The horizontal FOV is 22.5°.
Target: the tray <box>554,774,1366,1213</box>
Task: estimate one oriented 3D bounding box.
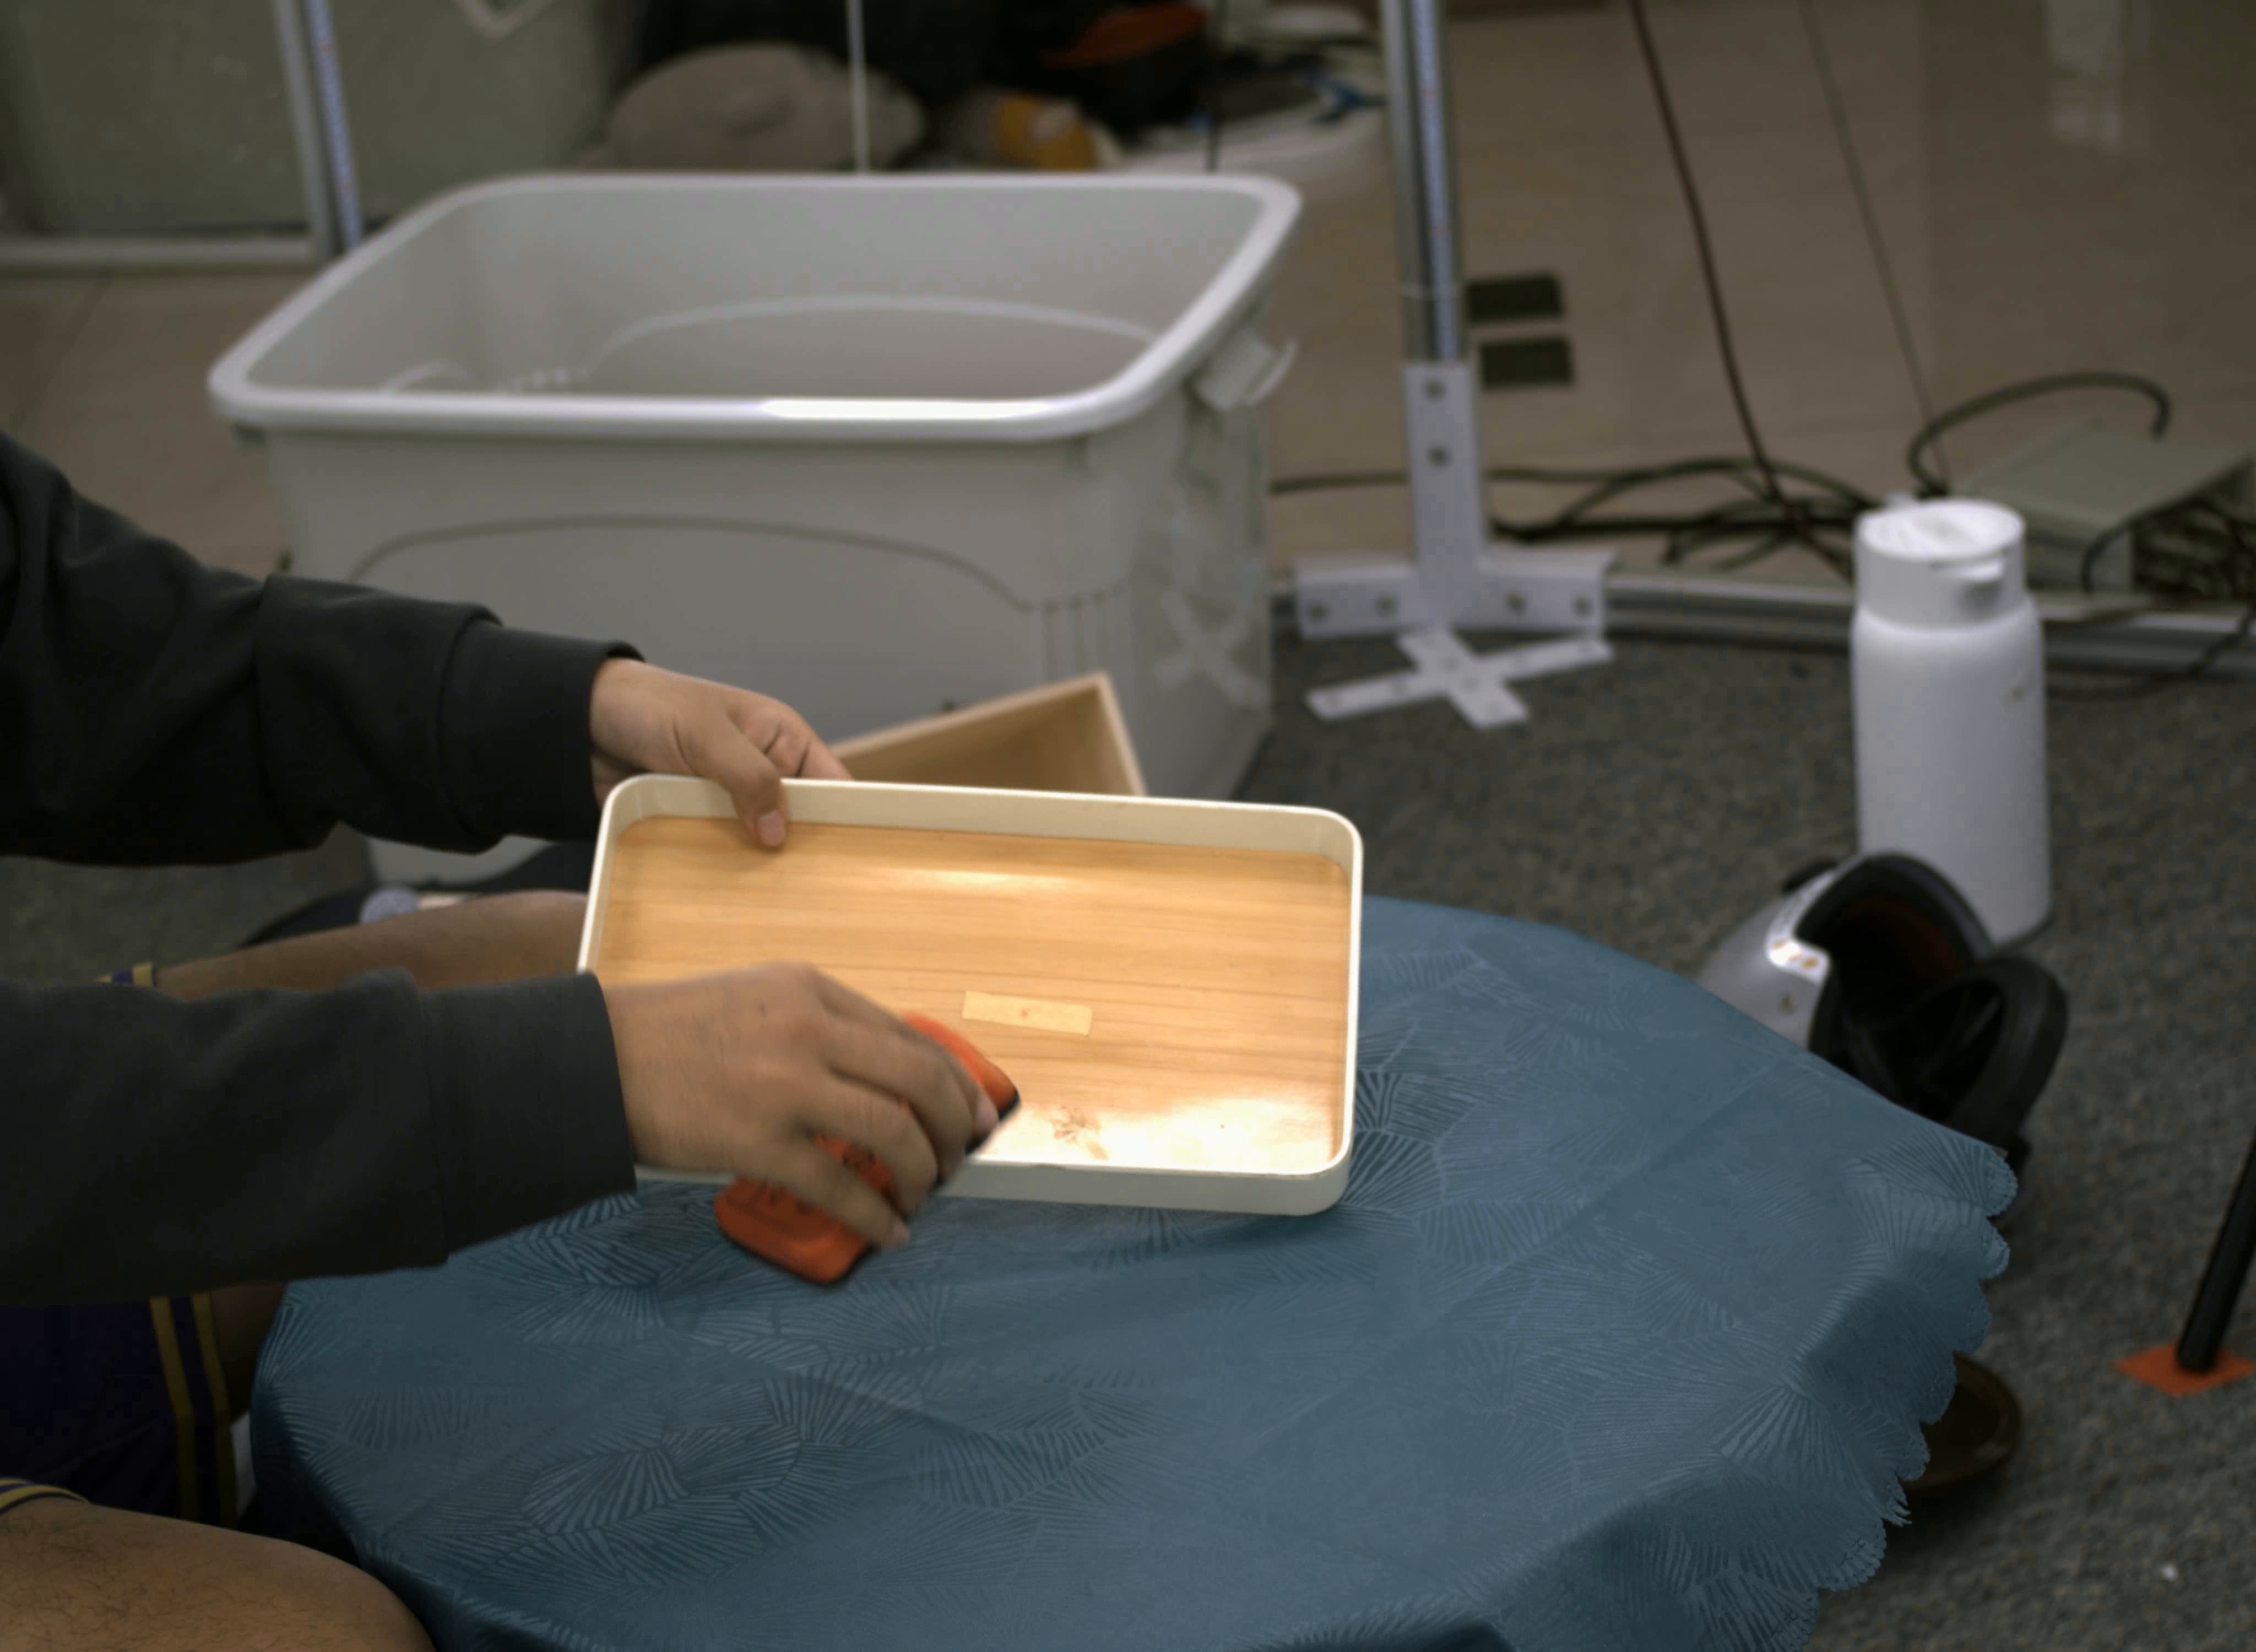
[{"bbox_3d":[-0.061,0.063,2.173,0.300,0.028,0.188,3,48,2],"label":"tray"}]

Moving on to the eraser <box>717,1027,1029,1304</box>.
[{"bbox_3d":[-0.090,0.119,1.996,0.058,0.023,0.107,24,58,42],"label":"eraser"}]
